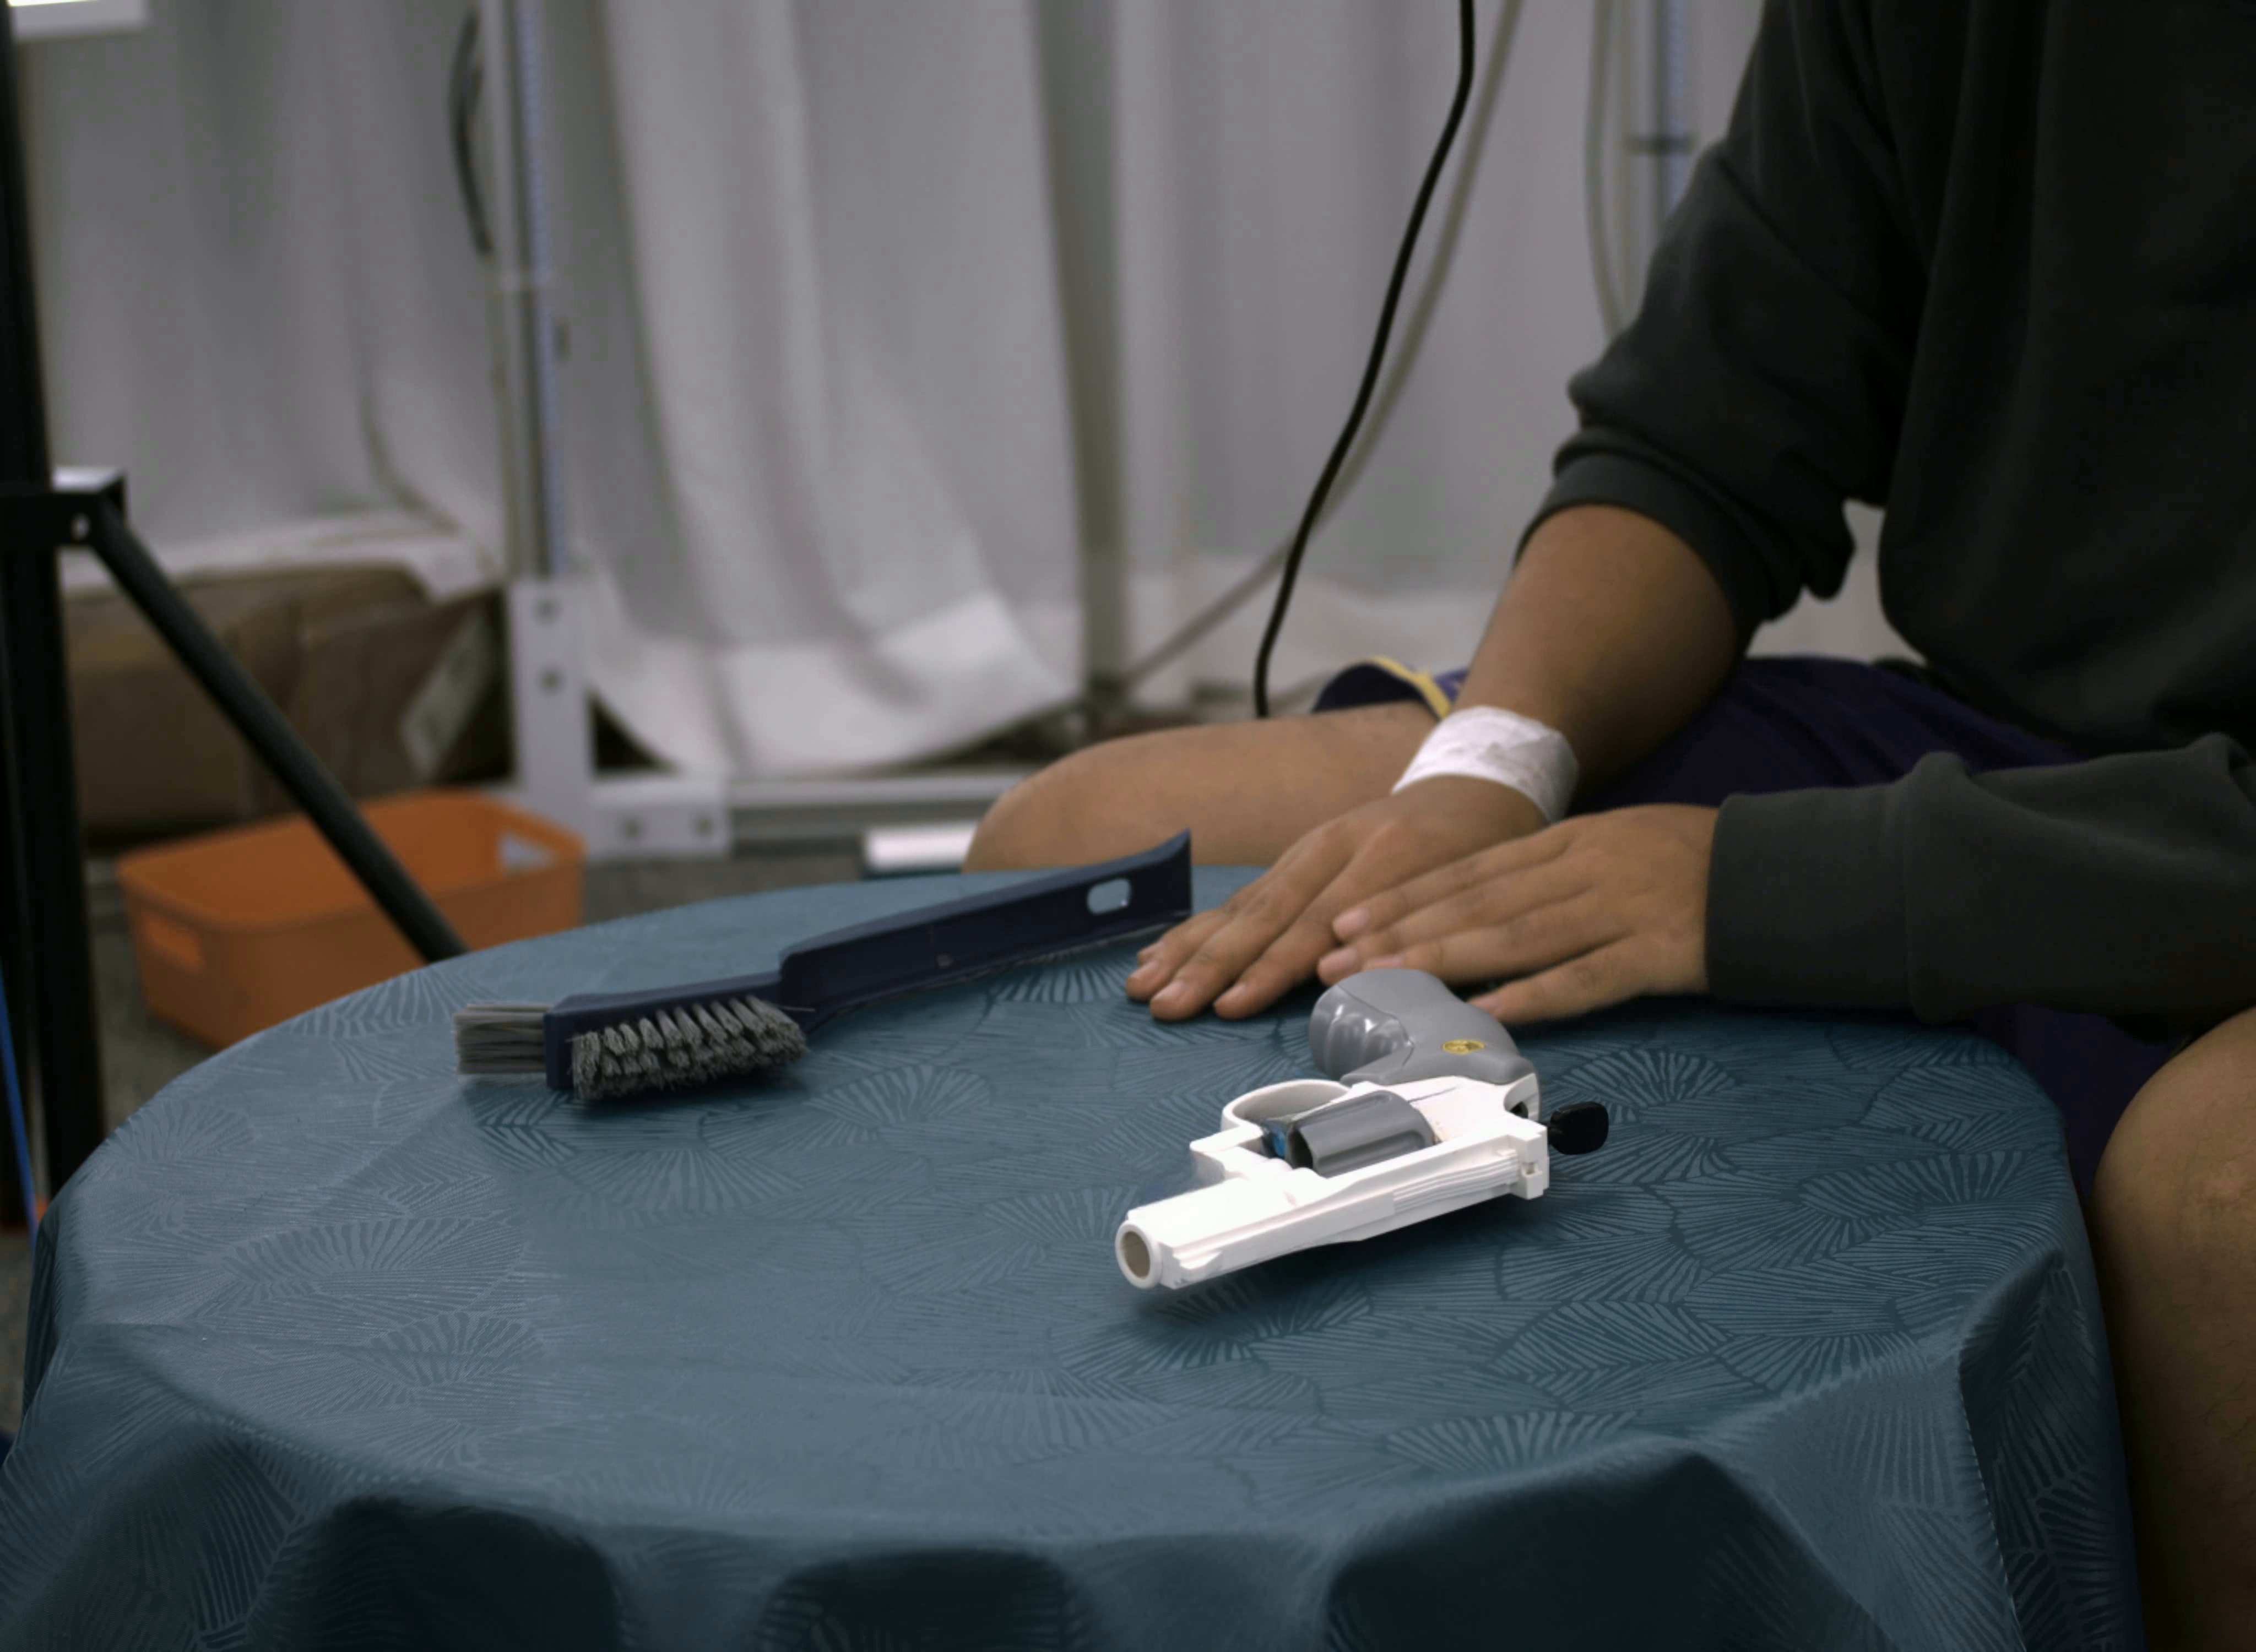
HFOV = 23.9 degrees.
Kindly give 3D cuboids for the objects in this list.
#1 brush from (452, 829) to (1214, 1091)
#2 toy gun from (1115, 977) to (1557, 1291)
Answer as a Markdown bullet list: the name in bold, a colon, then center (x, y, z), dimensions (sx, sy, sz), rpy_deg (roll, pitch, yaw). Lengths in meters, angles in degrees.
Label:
- **brush**: center (-0.088, 0.042, 1.749), dimensions (0.267, 0.033, 0.098), rpy_deg (-18, 22, -40)
- **toy gun**: center (0.054, 0.090, 1.547), dimensions (0.204, 0.039, 0.145), rpy_deg (-13, 18, -35)
